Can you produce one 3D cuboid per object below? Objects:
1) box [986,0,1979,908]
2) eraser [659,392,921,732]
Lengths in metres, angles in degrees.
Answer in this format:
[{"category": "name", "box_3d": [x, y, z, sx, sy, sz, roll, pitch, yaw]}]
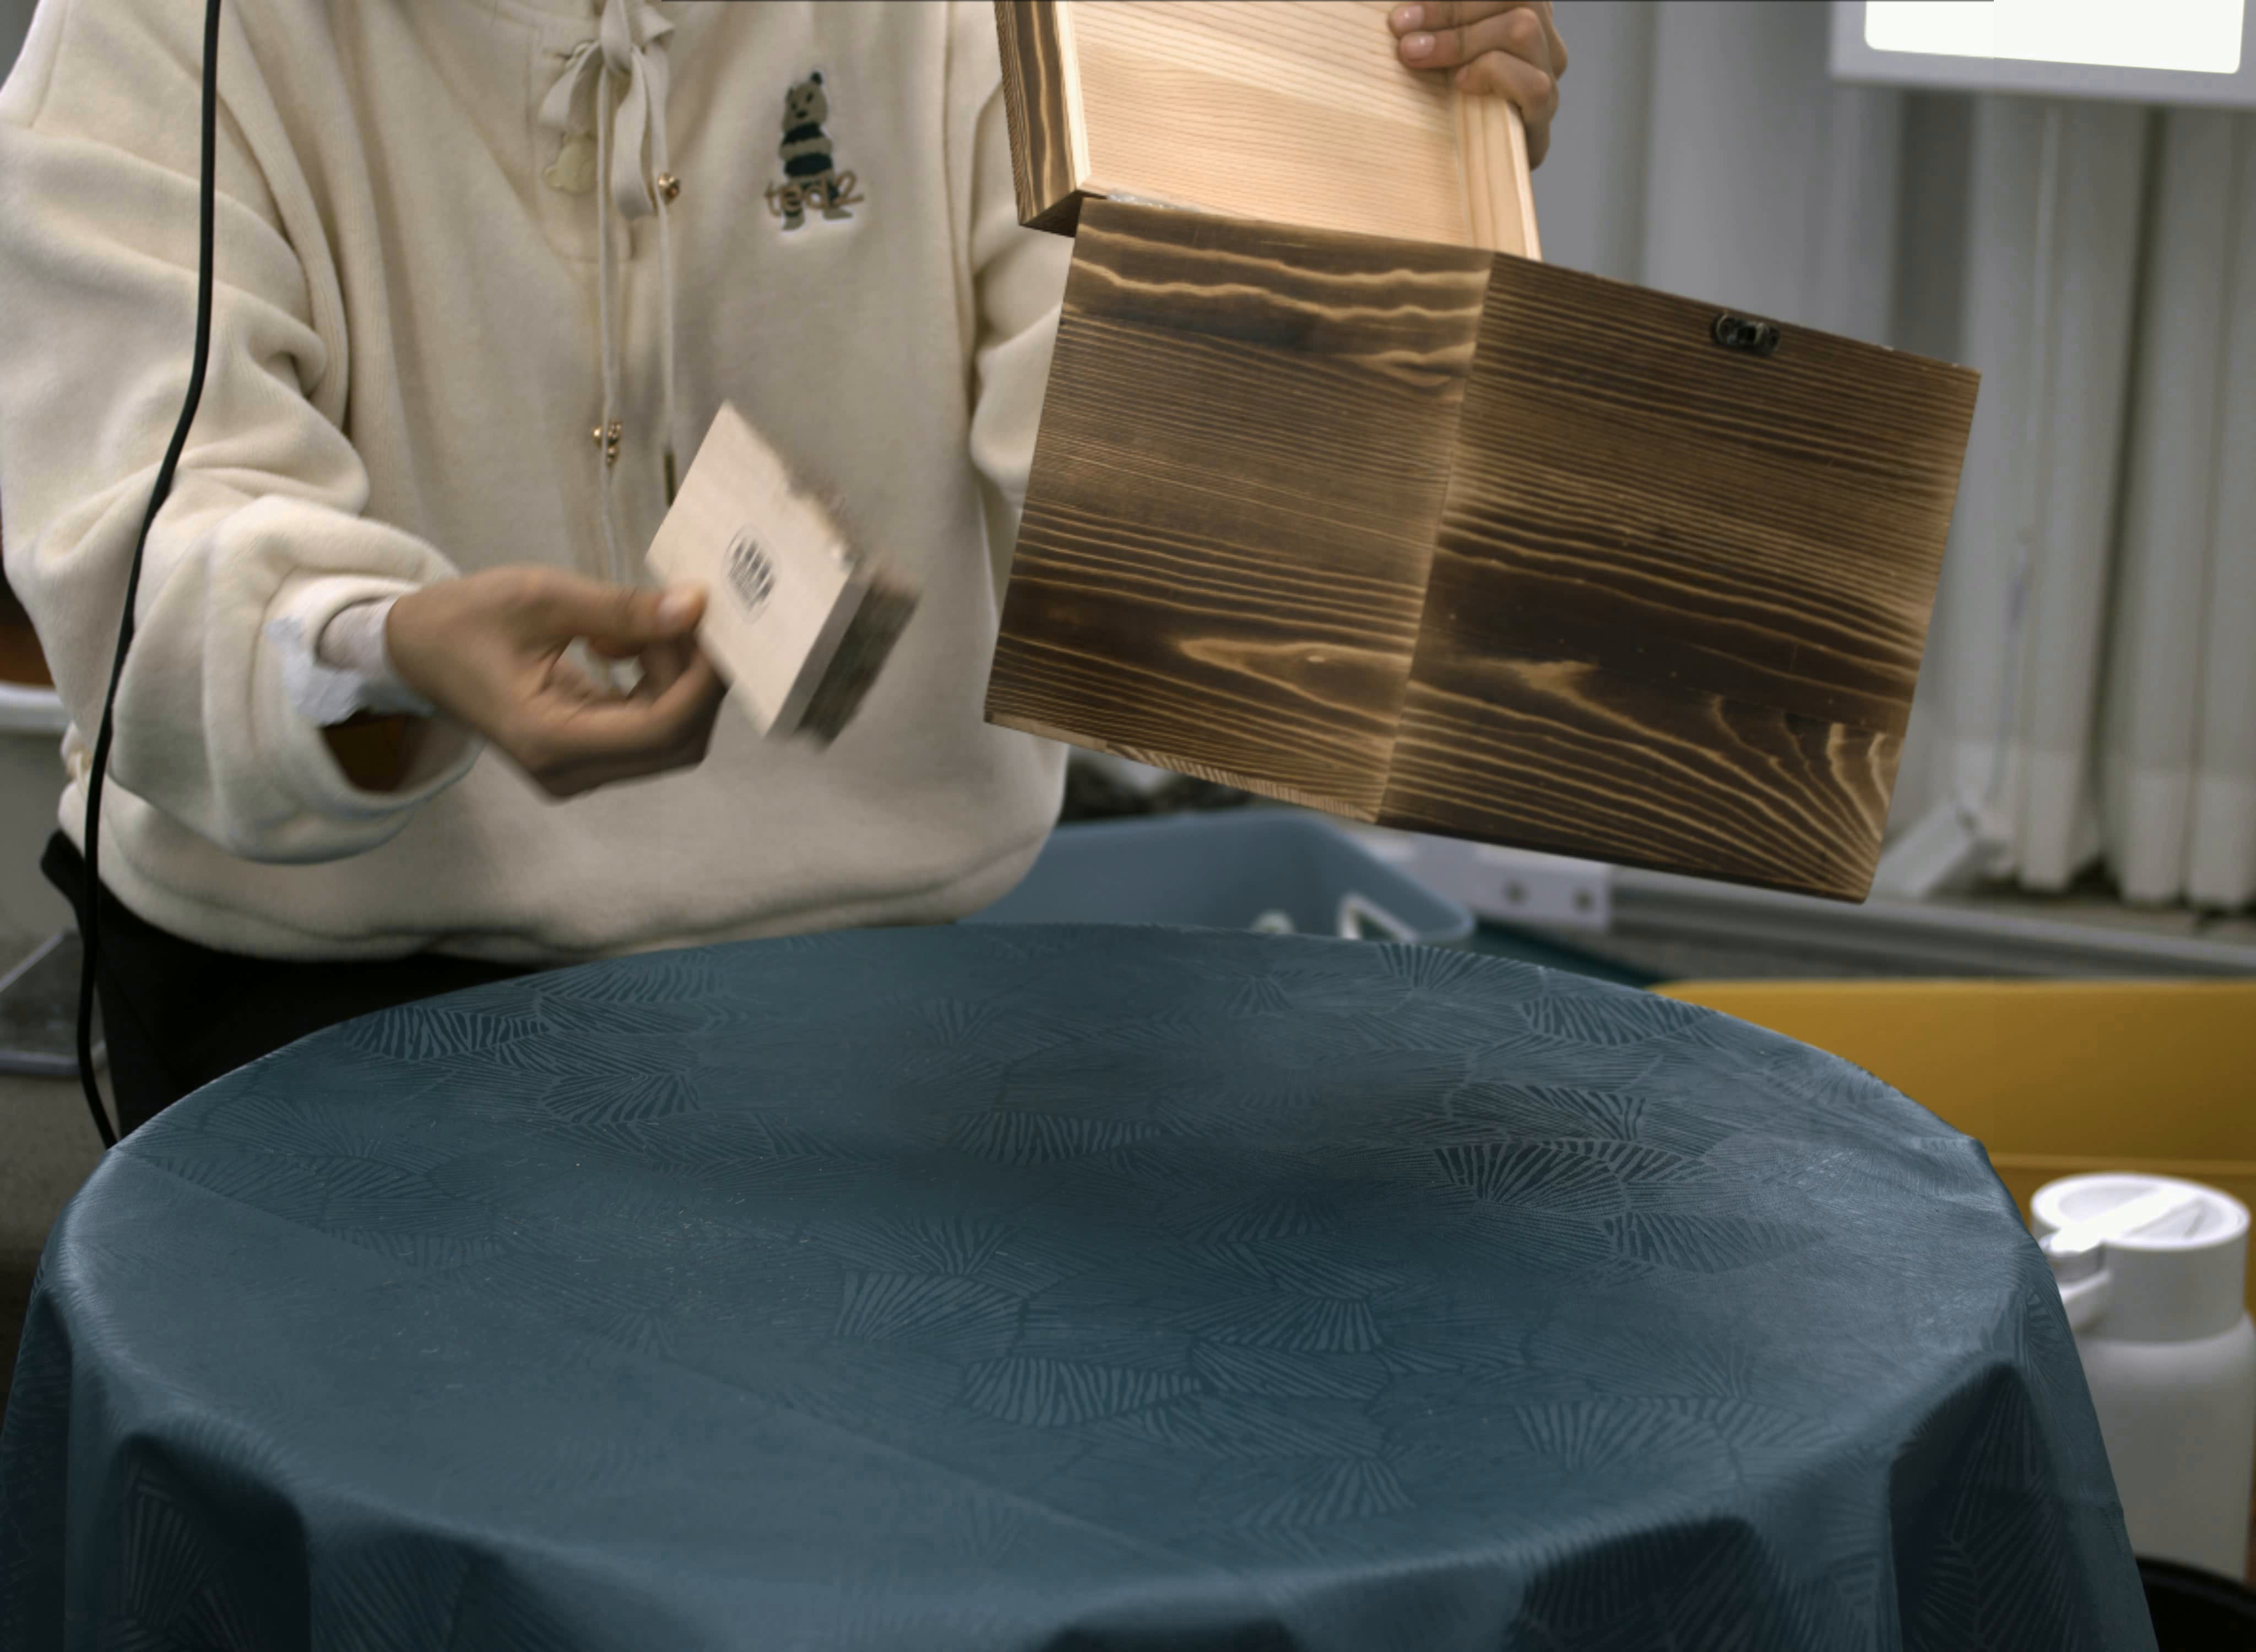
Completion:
[{"category": "box", "box_3d": [0.094, -0.190, 1.660, 0.210, 0.377, 0.318, 7, 6, -39]}, {"category": "eraser", "box_3d": [-0.105, -0.081, 1.615, 0.029, 0.057, 0.137, 21, 17, -28]}]
